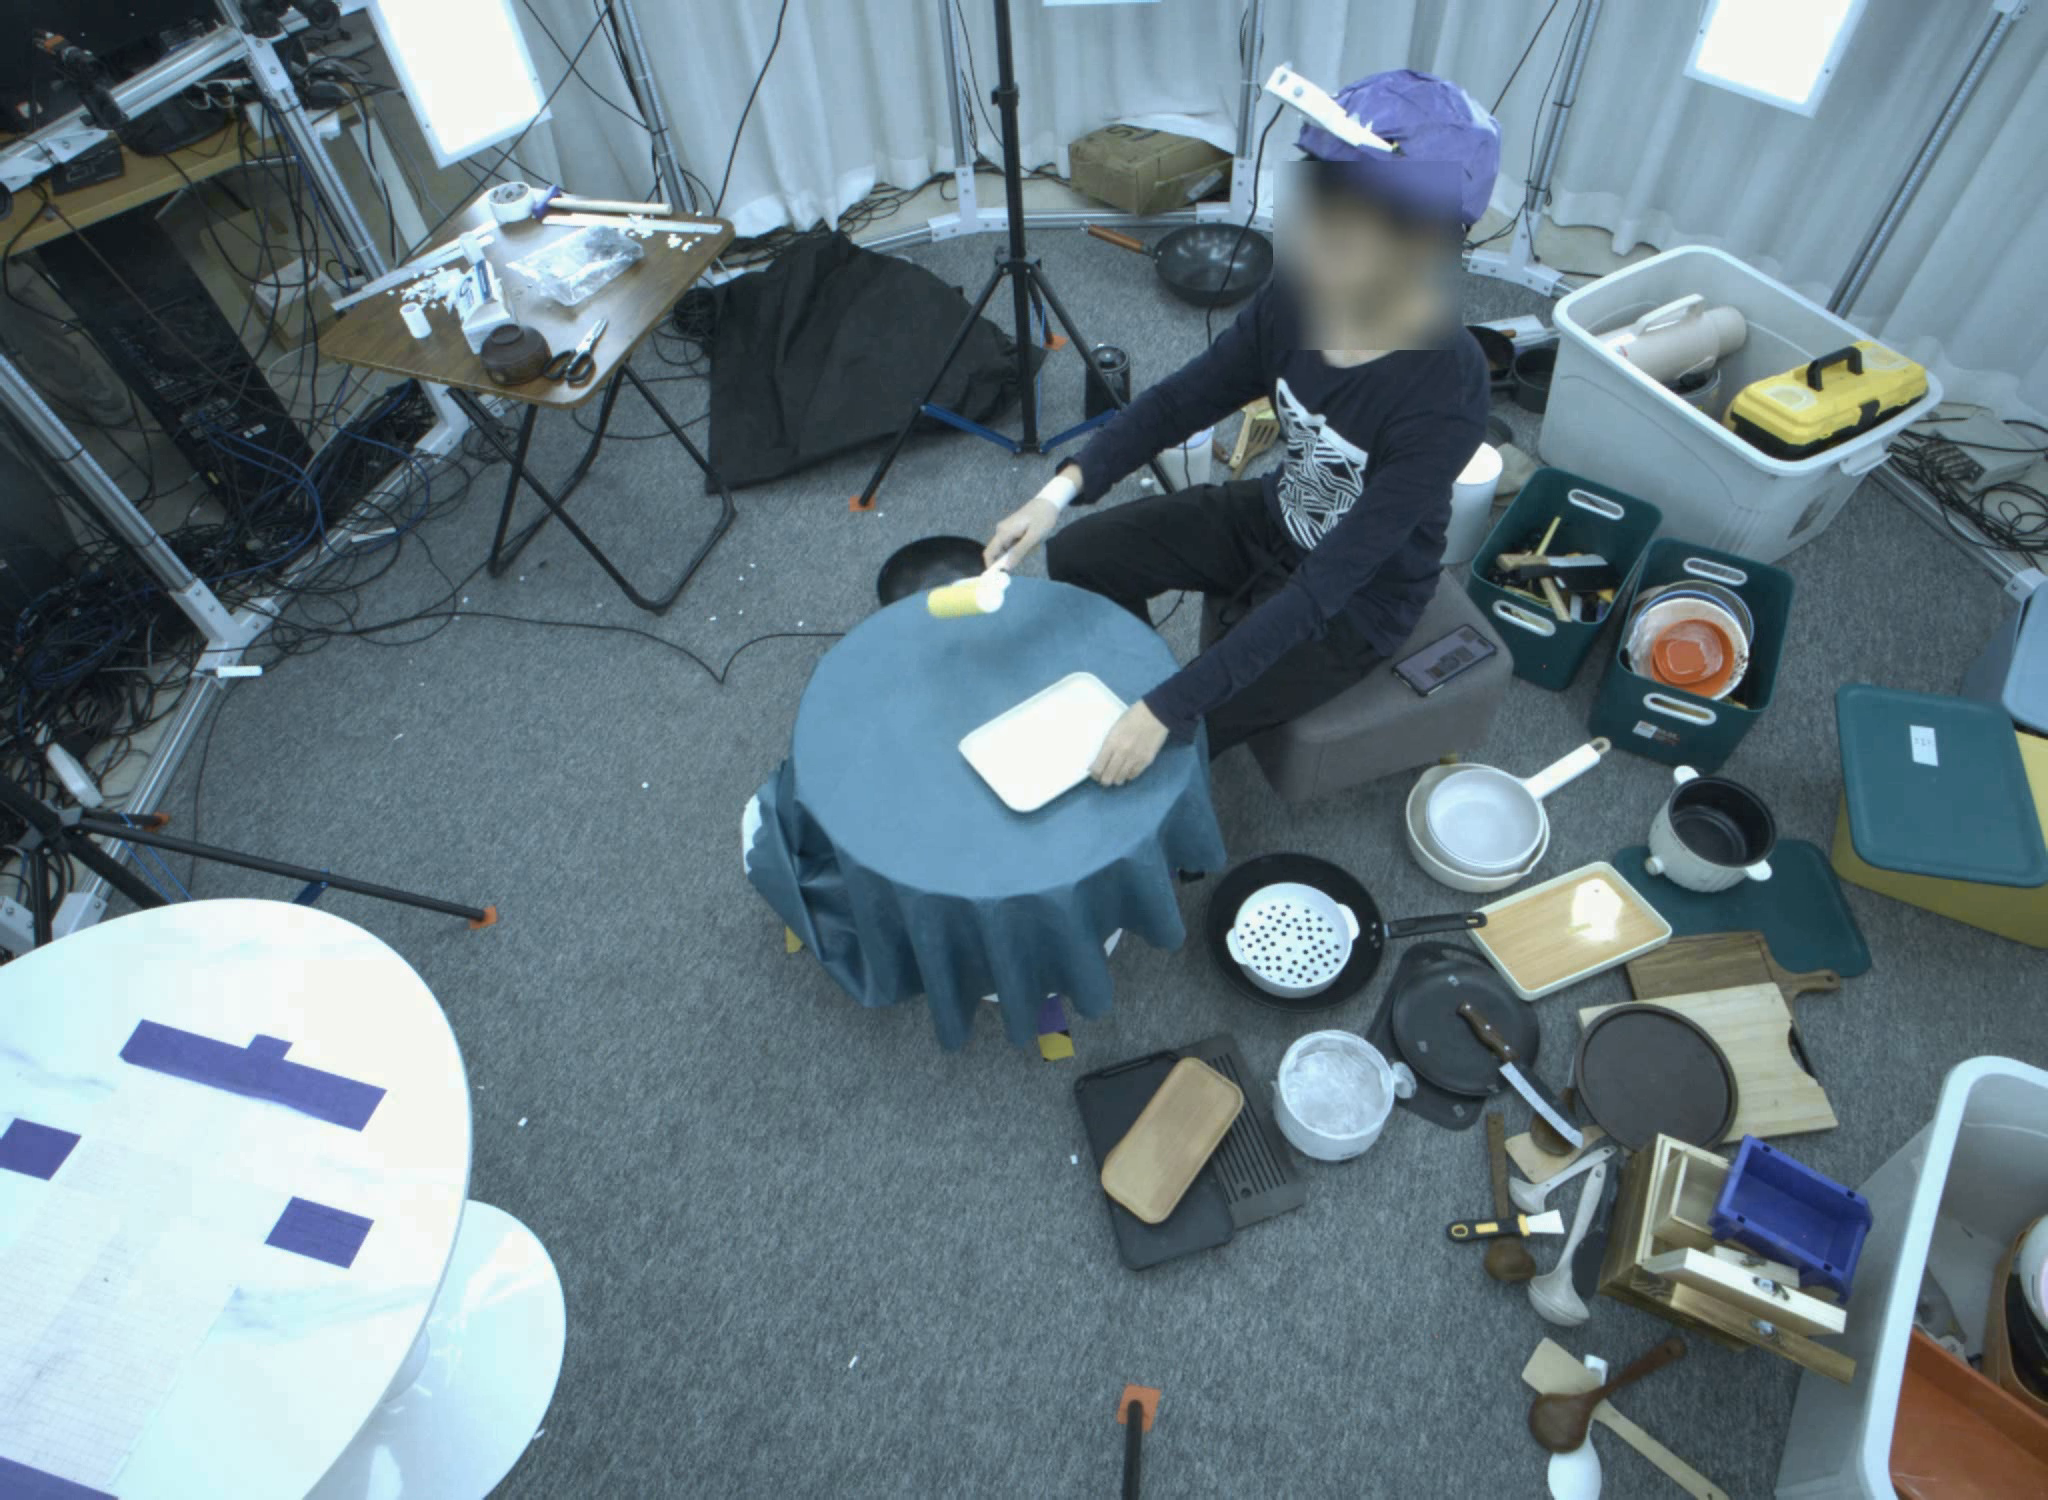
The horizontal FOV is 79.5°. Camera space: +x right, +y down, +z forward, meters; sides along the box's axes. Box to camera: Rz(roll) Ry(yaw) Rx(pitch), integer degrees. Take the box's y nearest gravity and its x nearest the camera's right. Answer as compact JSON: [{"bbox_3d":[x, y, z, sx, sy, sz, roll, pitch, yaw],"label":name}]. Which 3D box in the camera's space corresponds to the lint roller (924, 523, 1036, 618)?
[{"bbox_3d":[-0.051,-0.277,1.823,0.170,0.052,0.192,4,58,57],"label":"lint roller"}]

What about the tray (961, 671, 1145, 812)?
[{"bbox_3d":[0.042,-0.014,1.789,0.241,0.018,0.168,-31,58,-19],"label":"tray"}]
